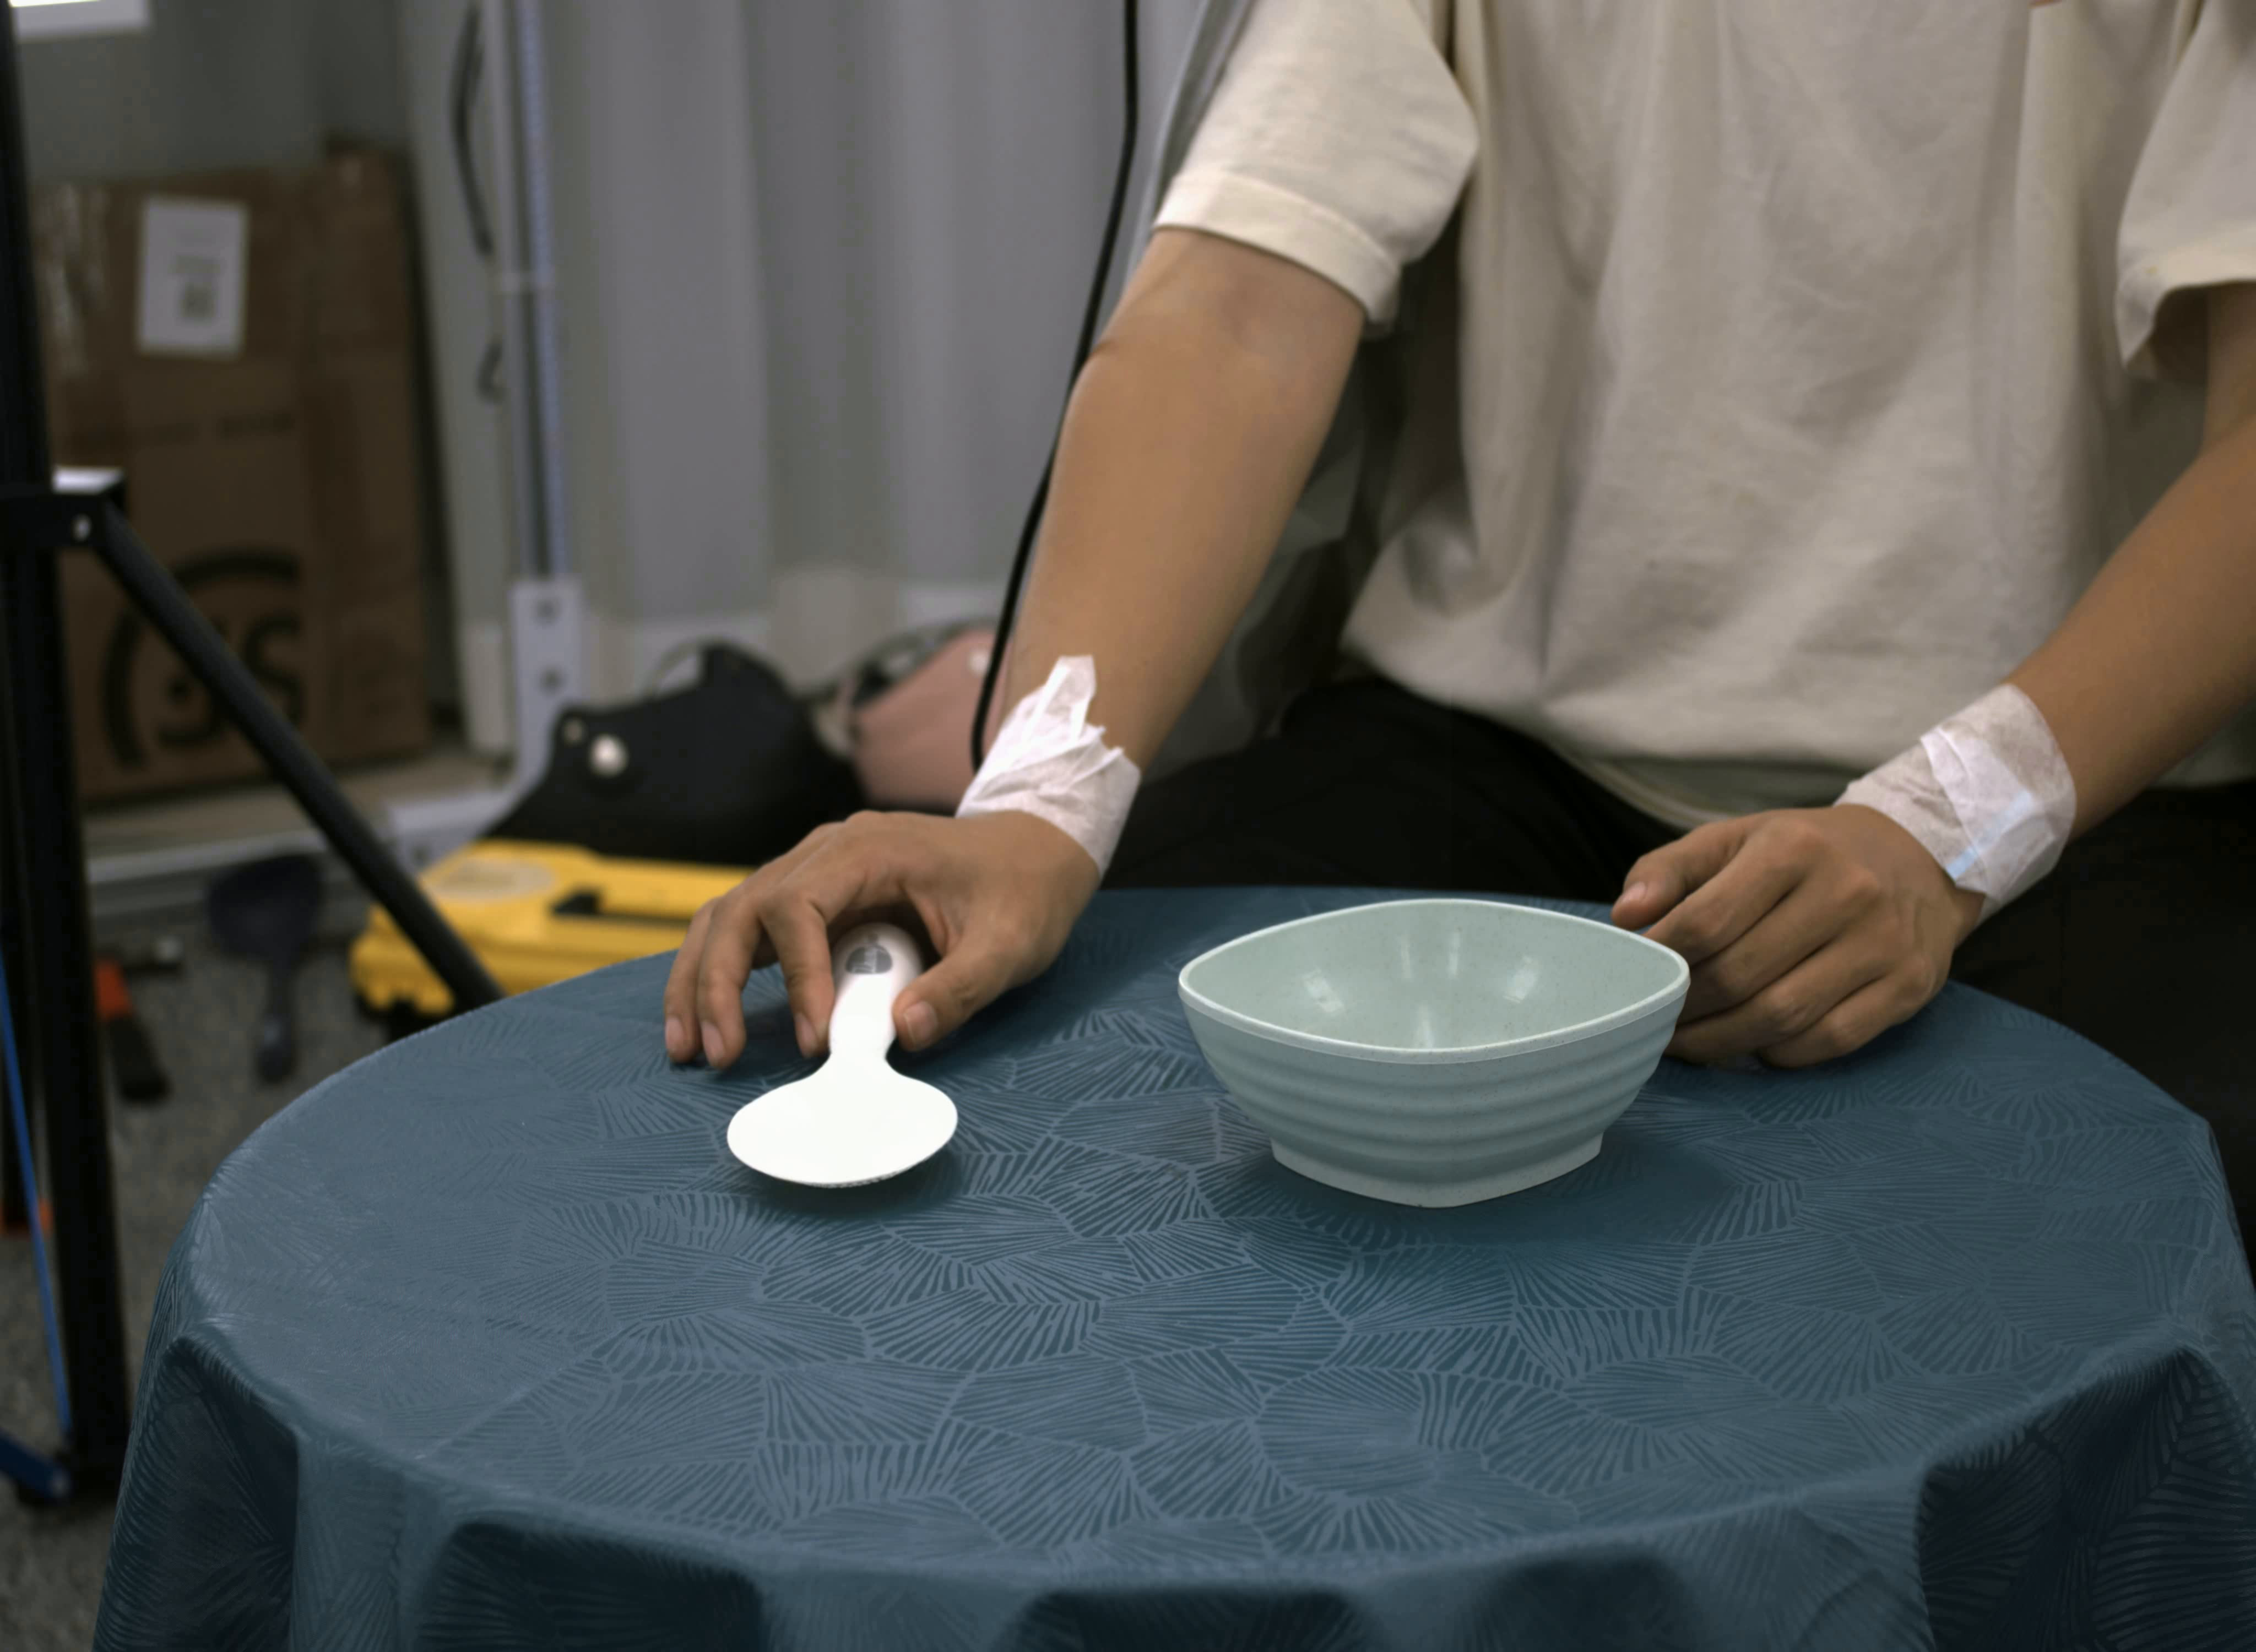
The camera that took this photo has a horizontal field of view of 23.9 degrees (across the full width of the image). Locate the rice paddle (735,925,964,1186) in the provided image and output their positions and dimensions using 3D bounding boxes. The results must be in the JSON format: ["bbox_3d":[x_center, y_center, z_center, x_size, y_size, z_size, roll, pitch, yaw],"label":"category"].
[{"bbox_3d":[-0.082,0.073,1.640,0.068,0.029,0.206,-4,15,2],"label":"rice paddle"}]

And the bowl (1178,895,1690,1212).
[{"bbox_3d":[0.092,0.070,1.569,0.151,0.058,0.152,-5,17,0],"label":"bowl"}]
